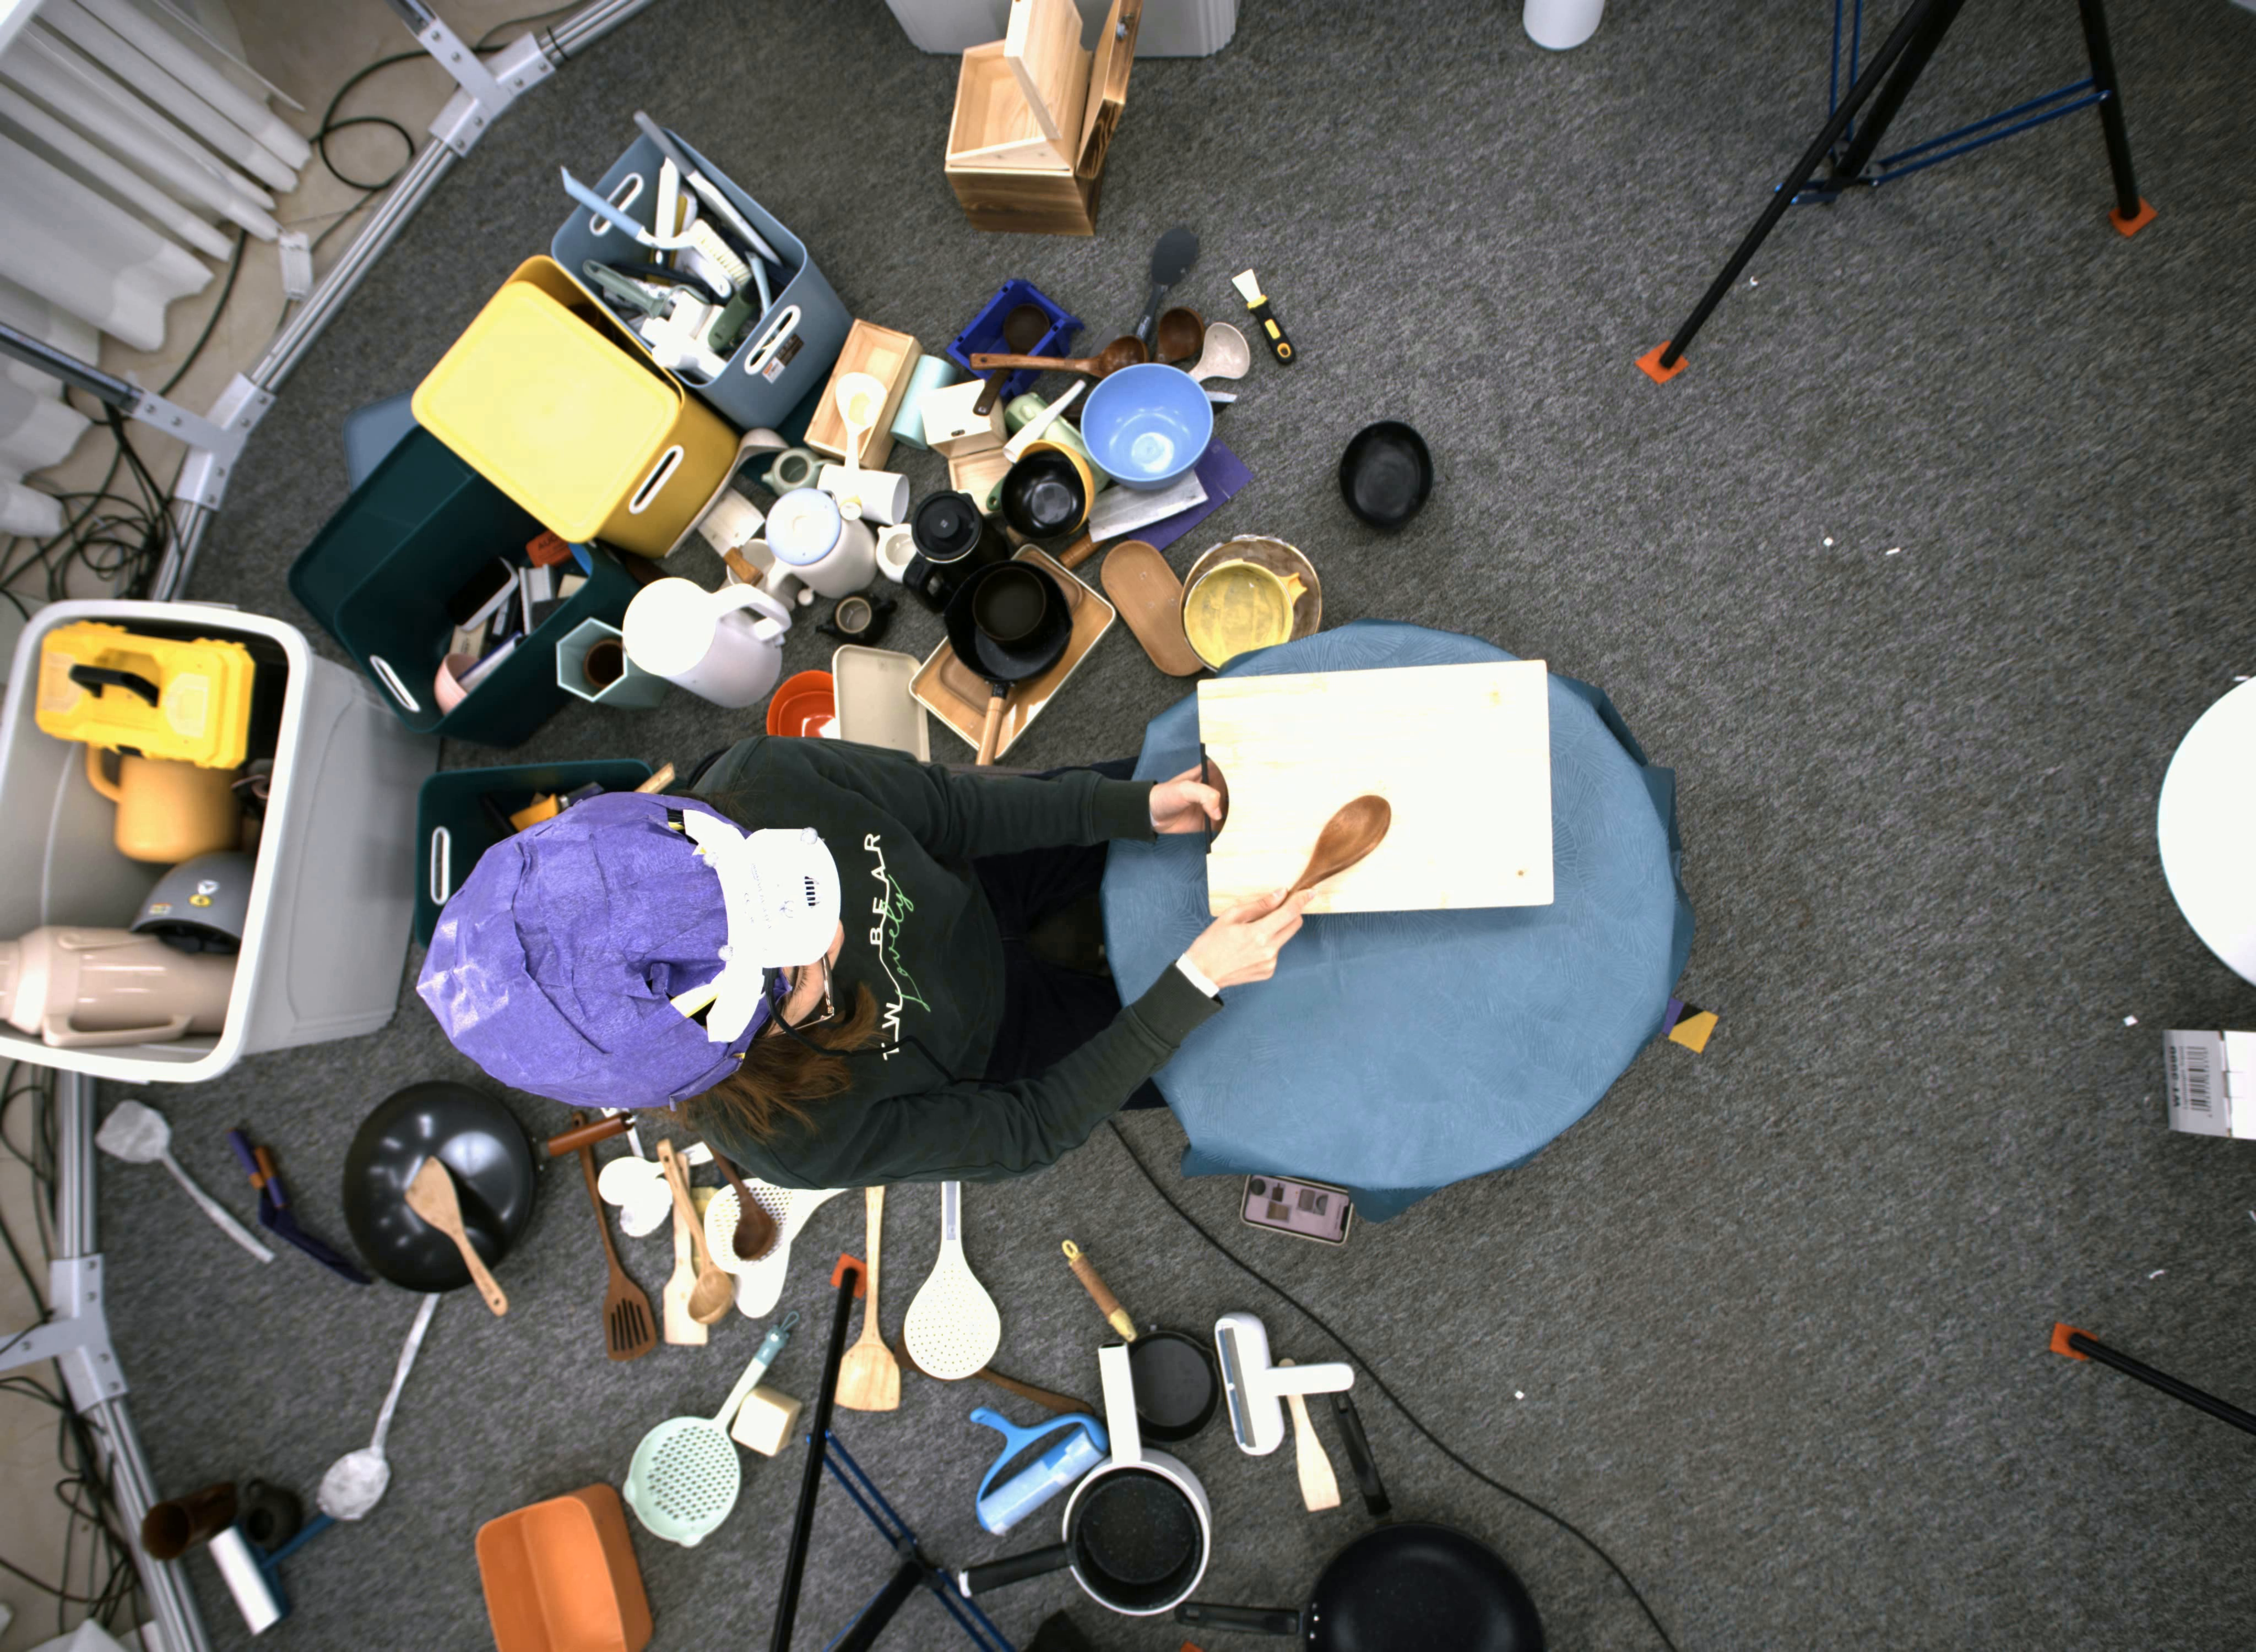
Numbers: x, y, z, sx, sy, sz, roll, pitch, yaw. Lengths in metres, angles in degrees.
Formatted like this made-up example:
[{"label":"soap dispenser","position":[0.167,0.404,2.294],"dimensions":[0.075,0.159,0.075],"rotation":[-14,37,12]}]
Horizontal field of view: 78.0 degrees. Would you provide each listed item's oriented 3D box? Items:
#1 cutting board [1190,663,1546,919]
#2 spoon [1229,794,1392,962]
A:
[{"label":"cutting board","position":[0.241,-0.035,1.373],"dimensions":[0.350,0.023,0.252],"rotation":[-4,97,9]},{"label":"spoon","position":[0.177,0.052,1.350],"dimensions":[0.217,0.017,0.074],"rotation":[-46,35,7]}]
